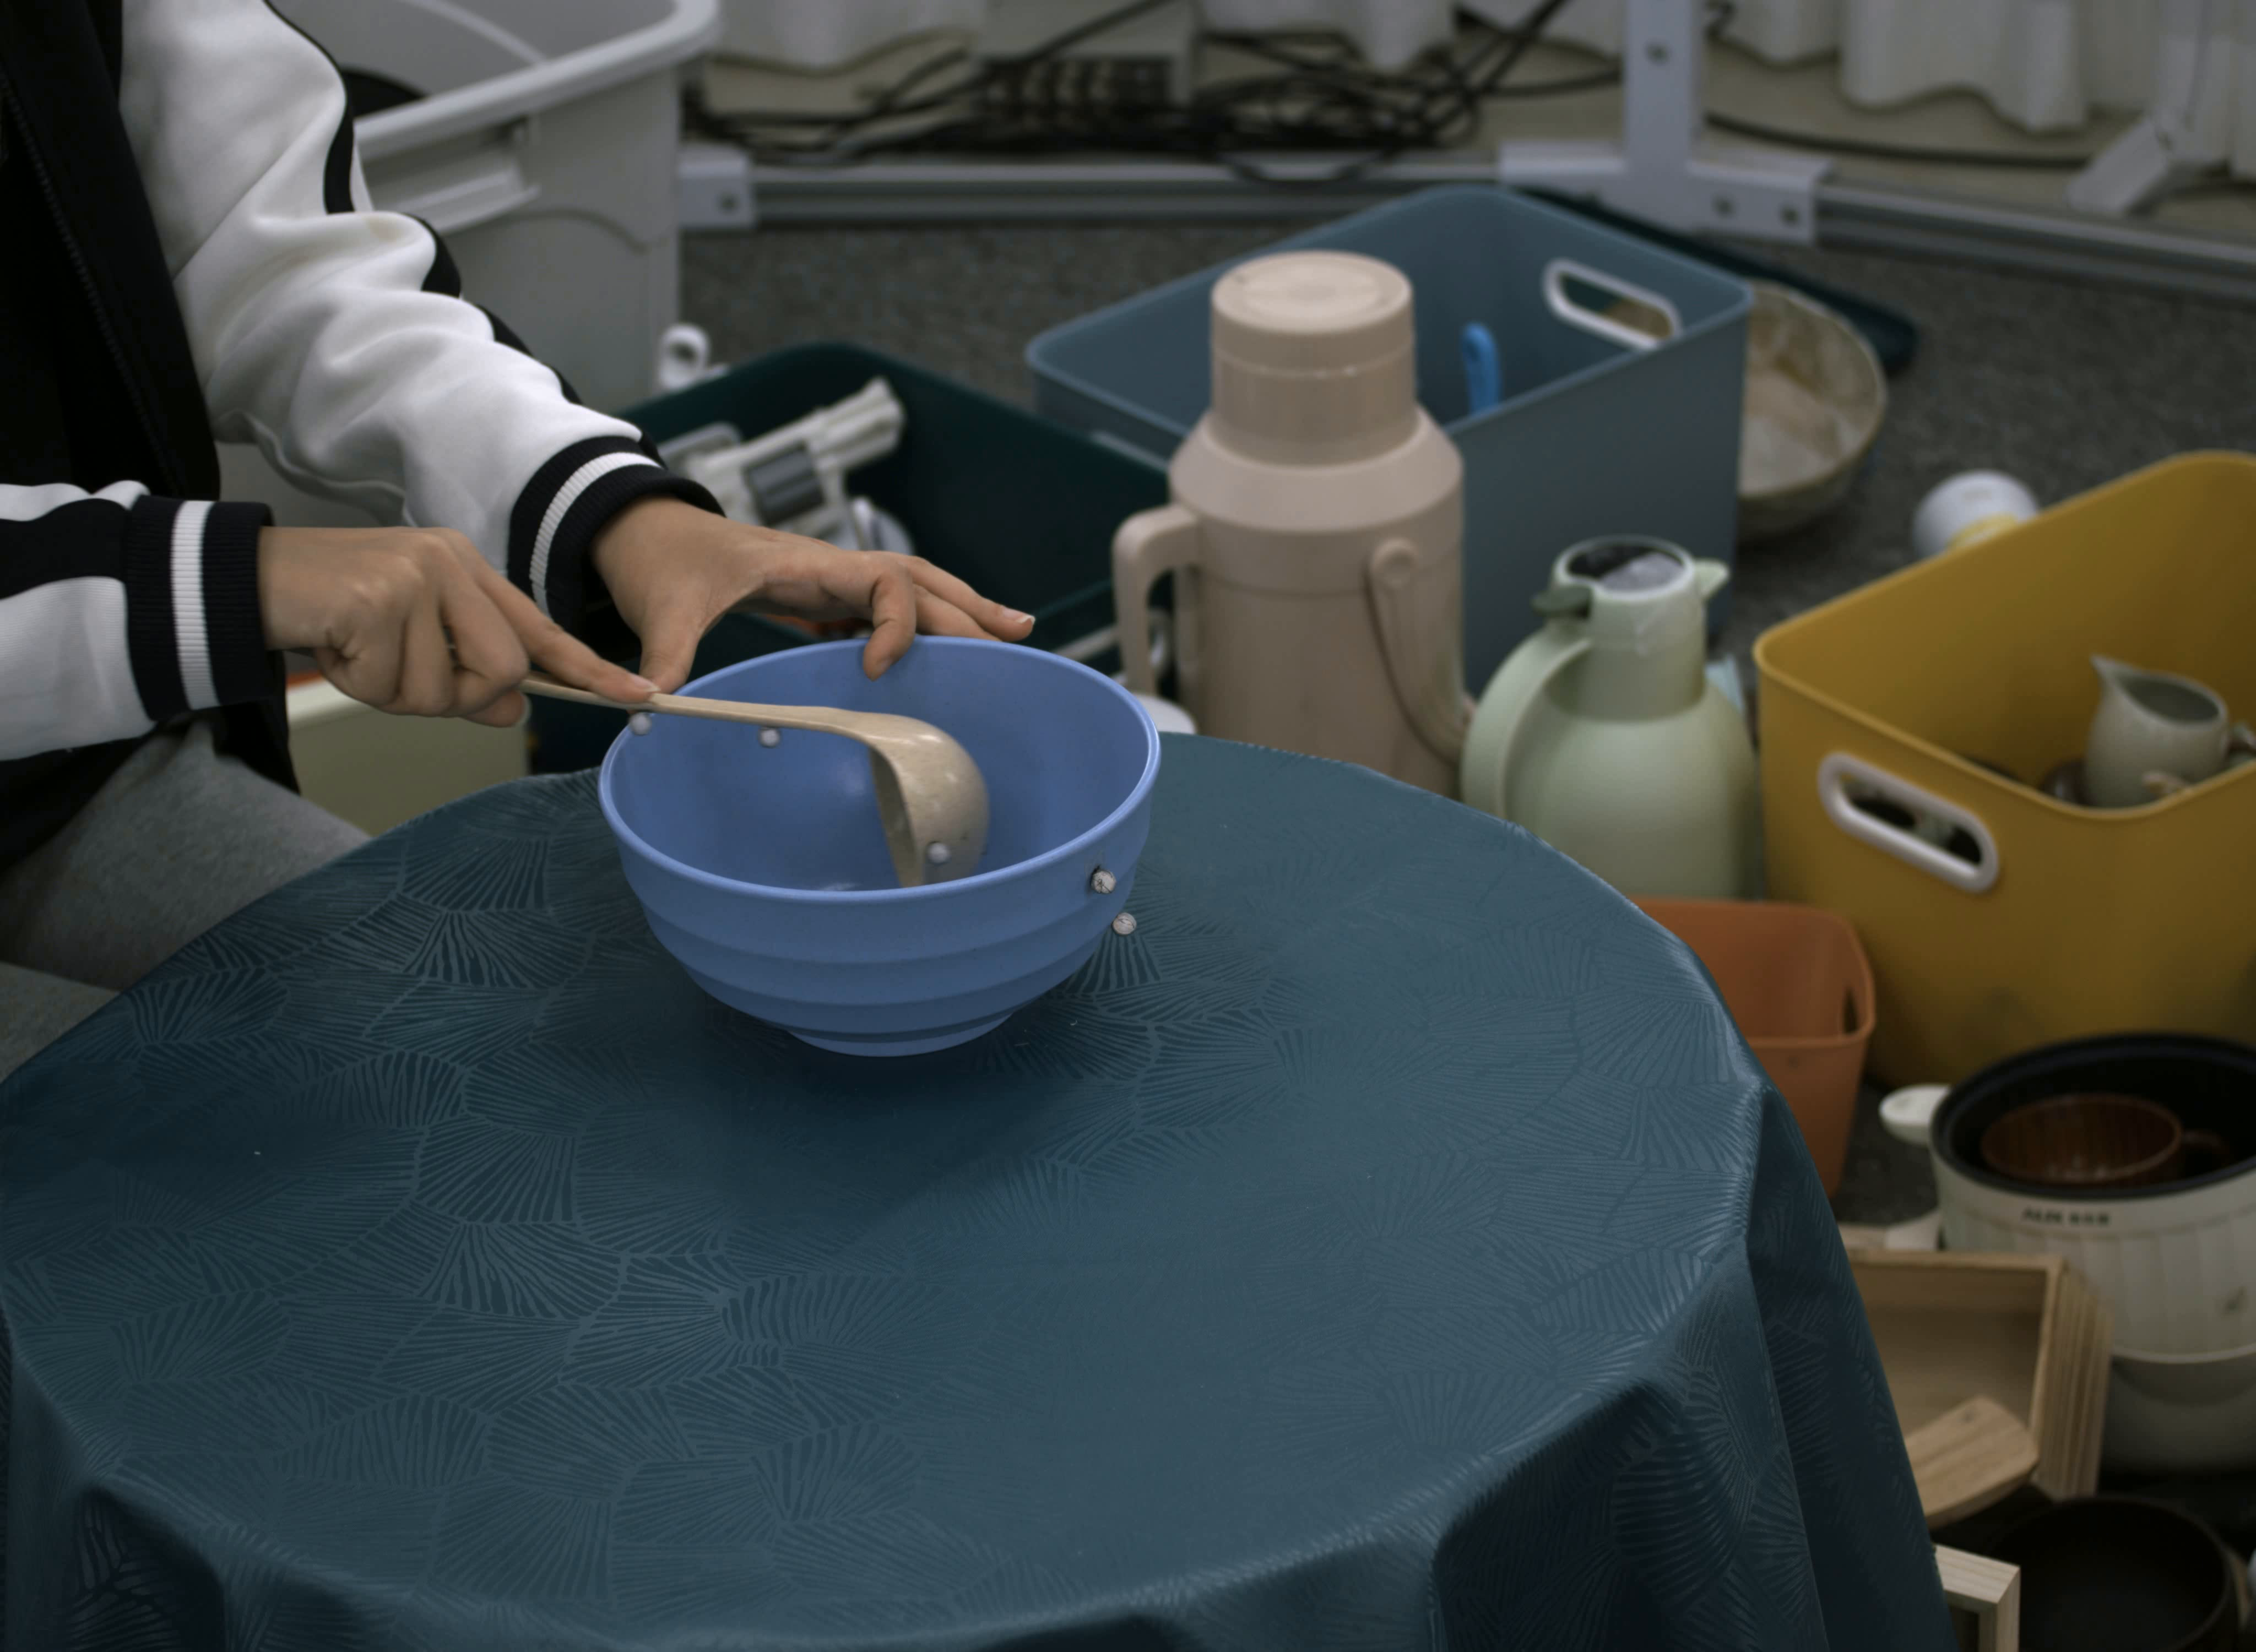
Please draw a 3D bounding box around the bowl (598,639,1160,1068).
[{"bbox_3d":[-0.083,0.021,1.969,0.195,0.094,0.199,-4,28,2],"label":"bowl"}]

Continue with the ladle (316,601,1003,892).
[{"bbox_3d":[-0.168,-0.019,1.970,0.254,0.072,0.073,11,18,-18],"label":"ladle"}]
